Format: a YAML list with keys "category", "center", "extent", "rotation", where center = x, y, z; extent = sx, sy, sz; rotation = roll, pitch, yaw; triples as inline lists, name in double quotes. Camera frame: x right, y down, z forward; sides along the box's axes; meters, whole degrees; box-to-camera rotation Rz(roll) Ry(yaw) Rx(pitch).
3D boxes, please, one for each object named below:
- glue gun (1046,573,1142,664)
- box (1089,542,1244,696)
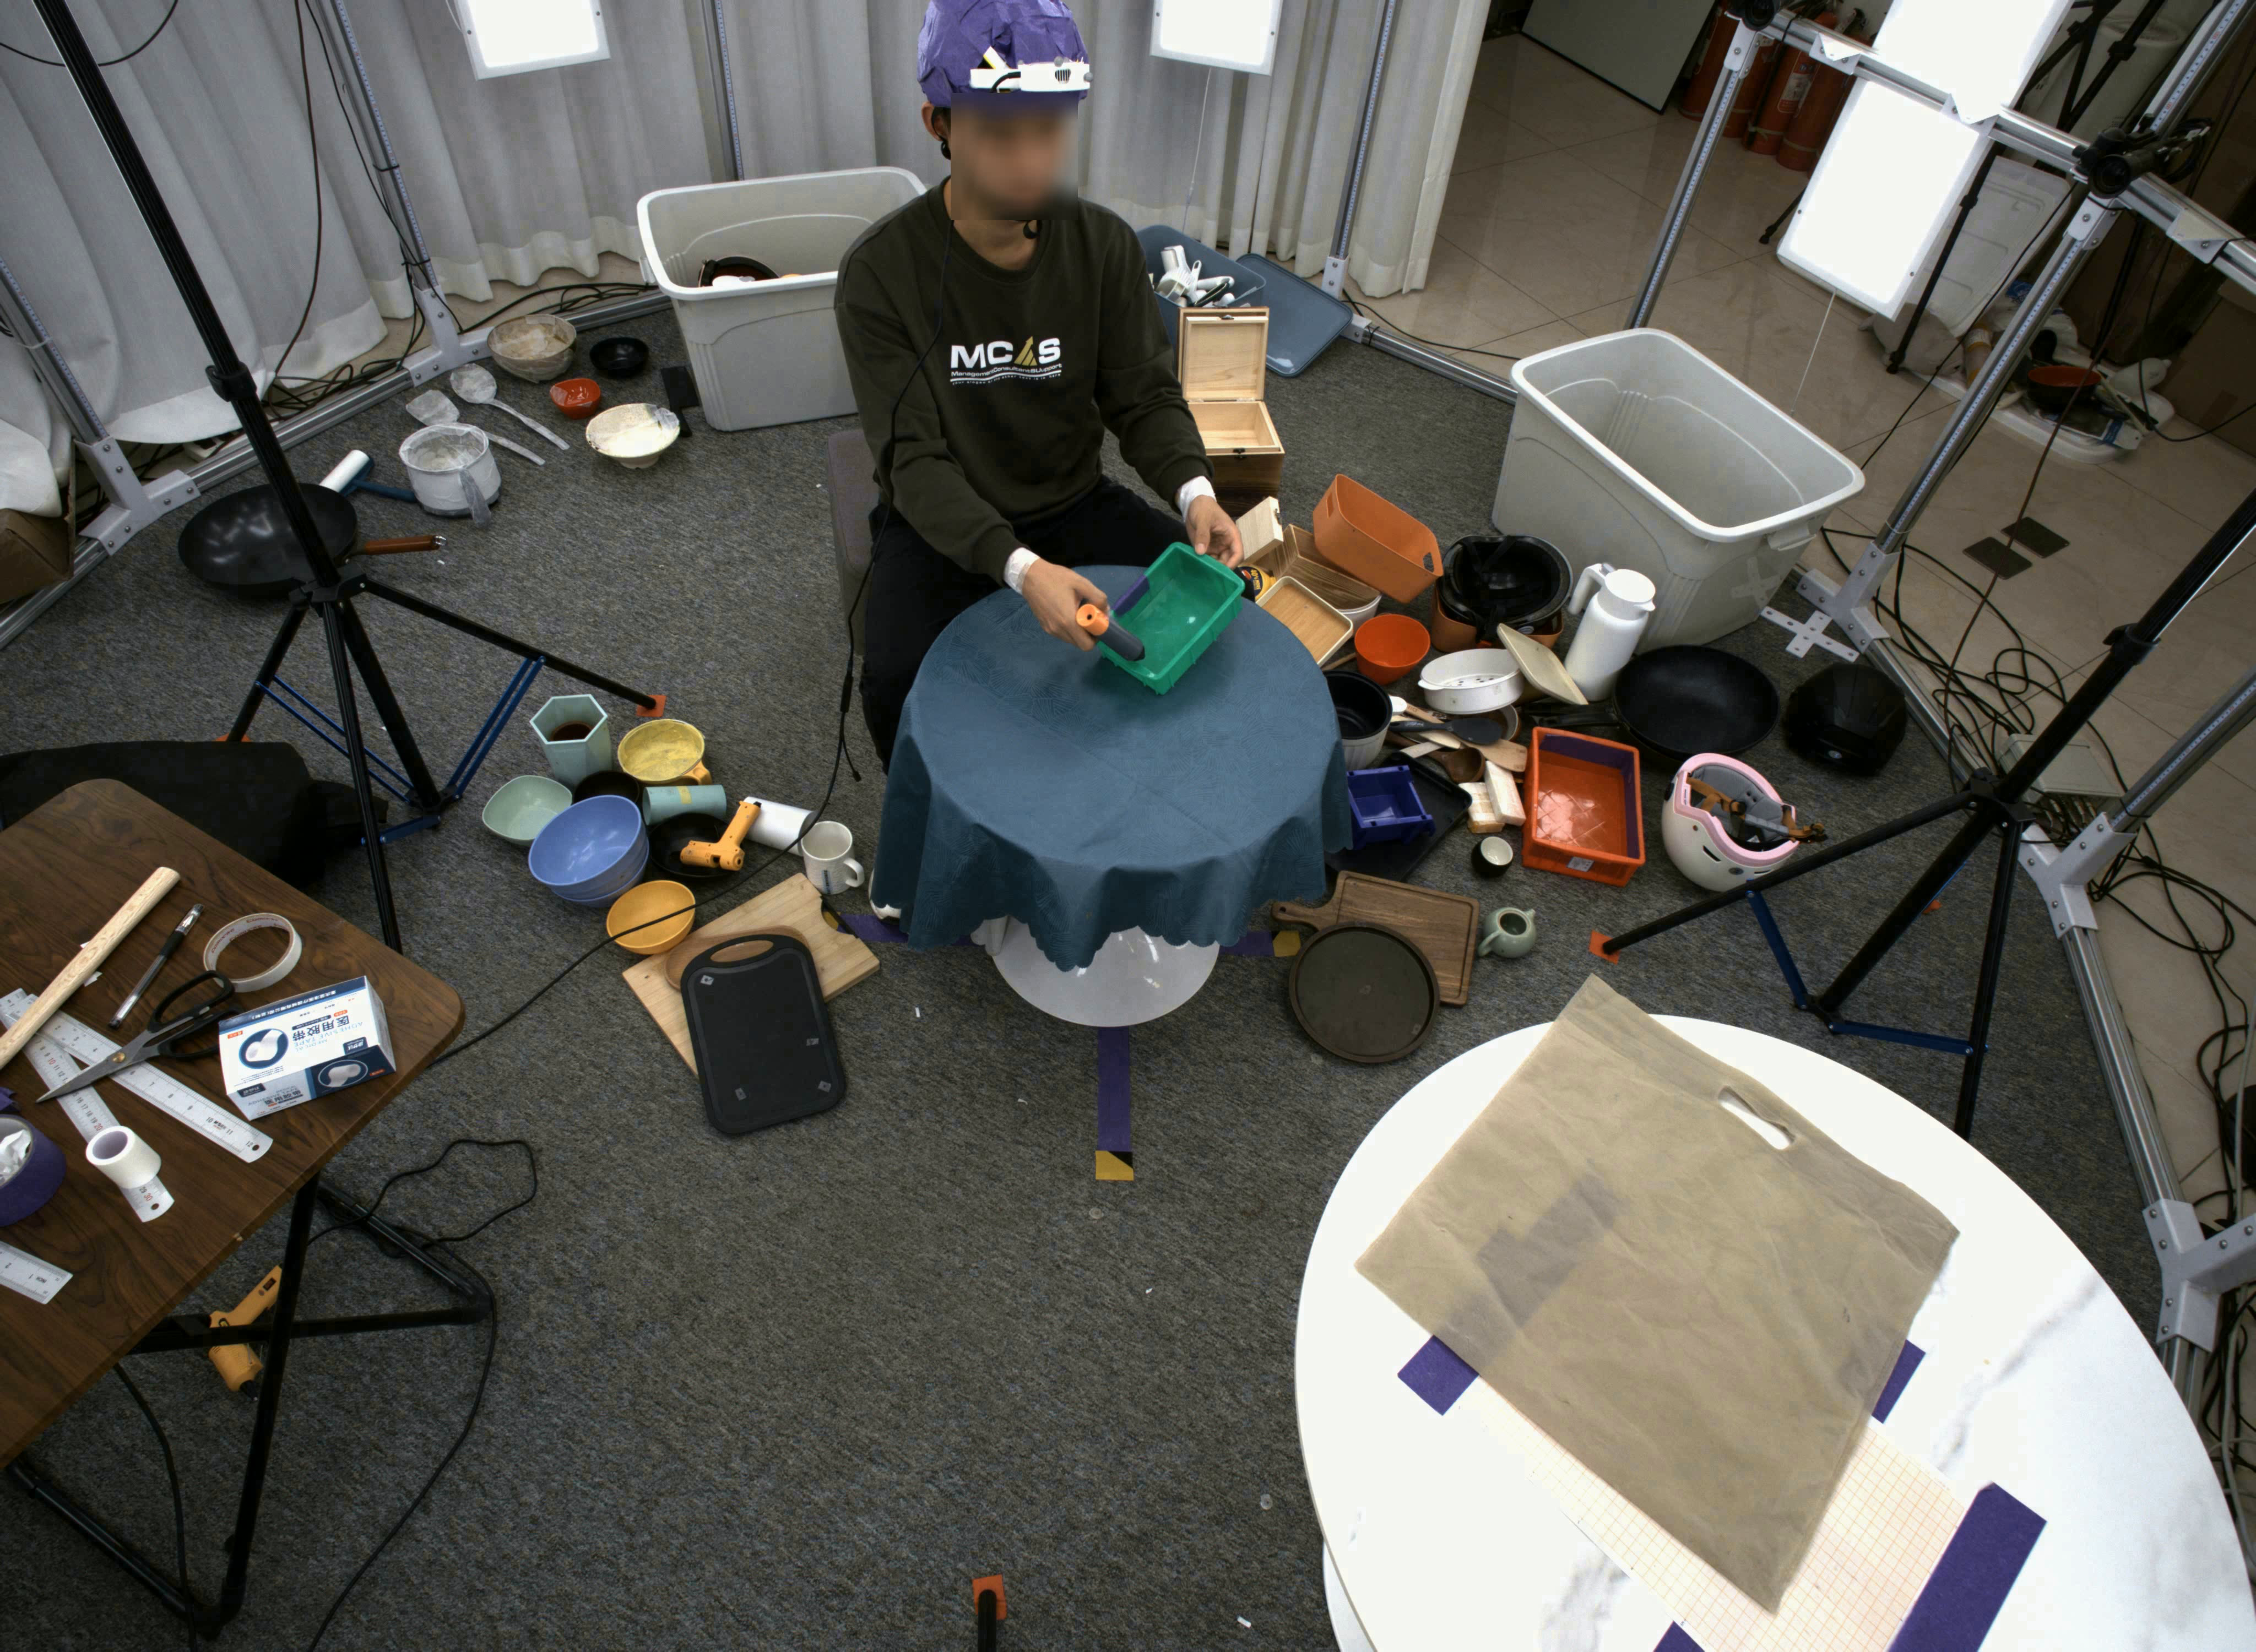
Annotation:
- category: "glue gun"
  center: [-0.044, -0.284, 1.770]
  extent: [0.041, 0.116, 0.142]
  rotation: [-47, 58, 2]
- category: "box"
  center: [0.059, -0.293, 1.844]
  extent: [0.140, 0.064, 0.212]
  rotation: [34, 76, 25]
